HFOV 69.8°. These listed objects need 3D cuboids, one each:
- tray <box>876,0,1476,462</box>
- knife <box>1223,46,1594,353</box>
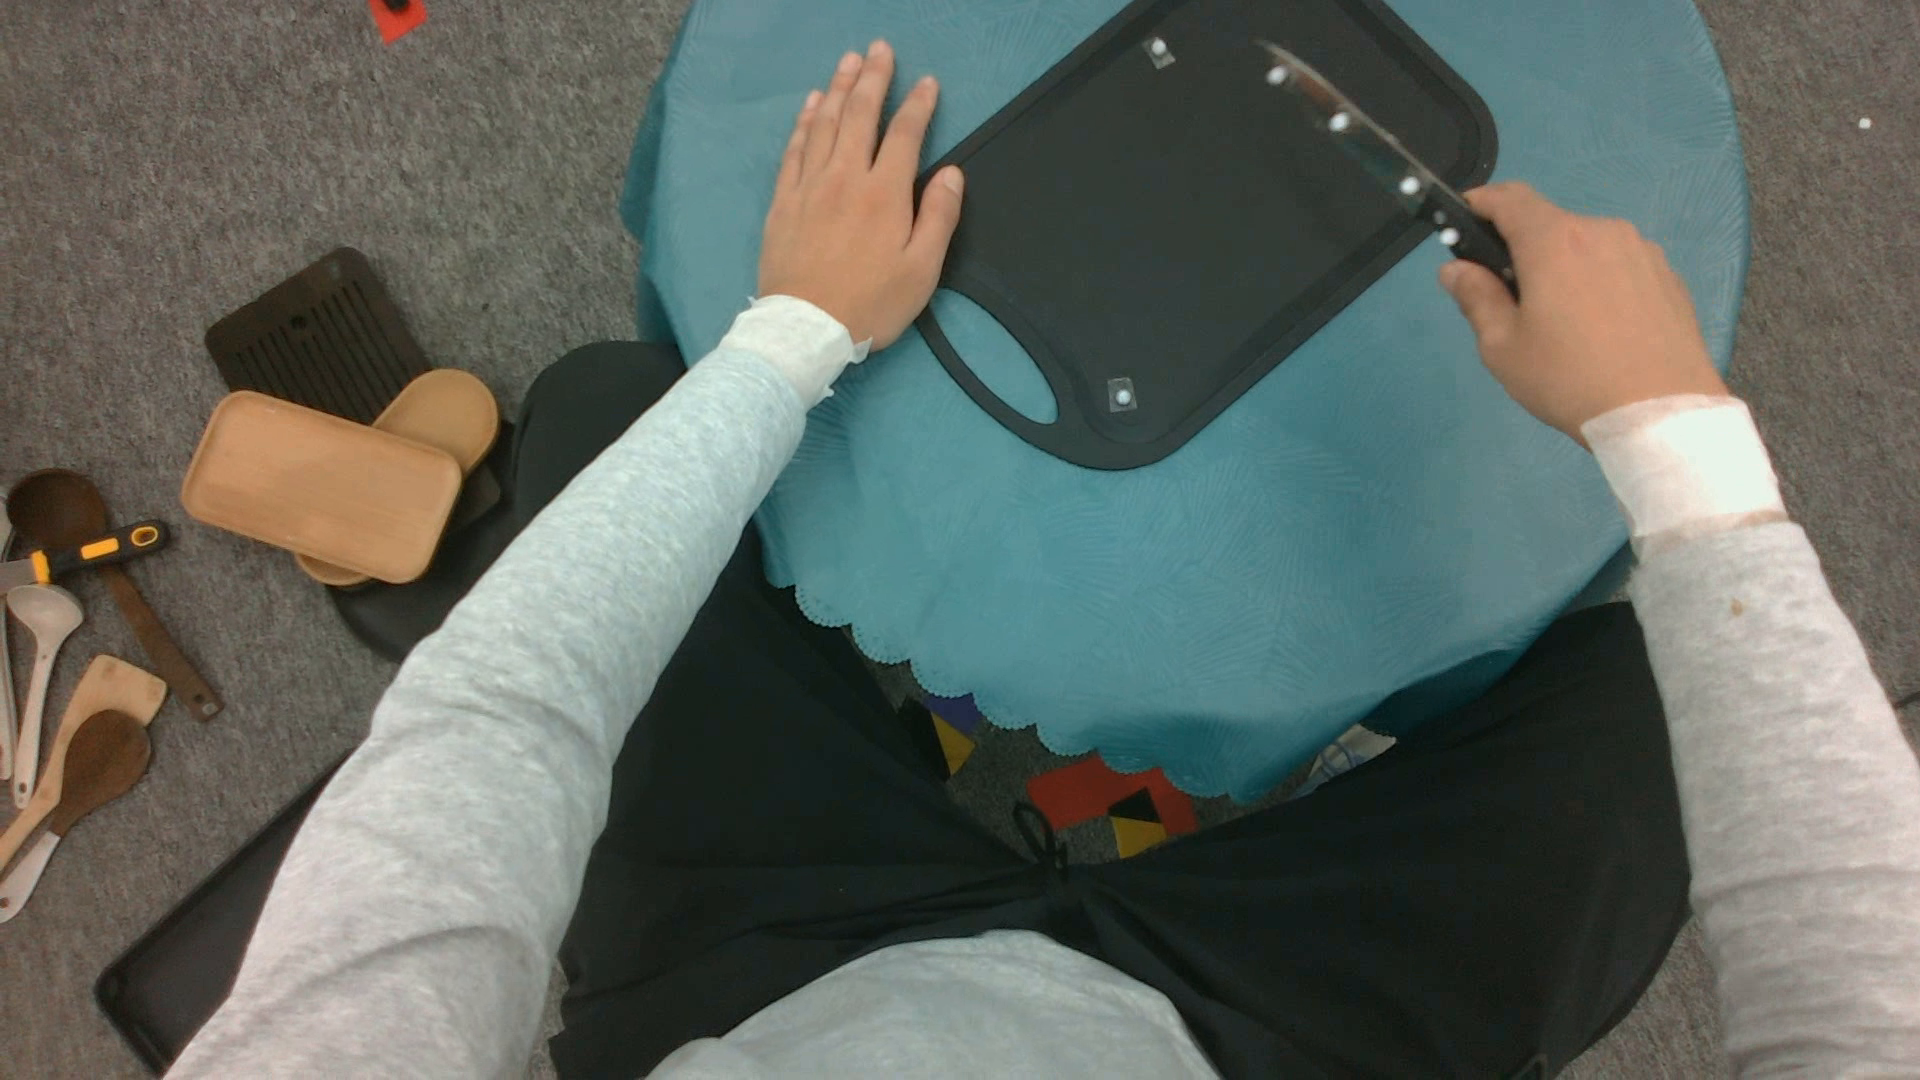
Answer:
[{"bbox_3d":[0.114,-0.193,0.756,0.326,0.010,0.211,-40,81,-6],"label":"tray"},{"bbox_3d":[0.203,-0.169,0.646,0.016,0.024,0.238,-28,62,-24],"label":"knife"}]
